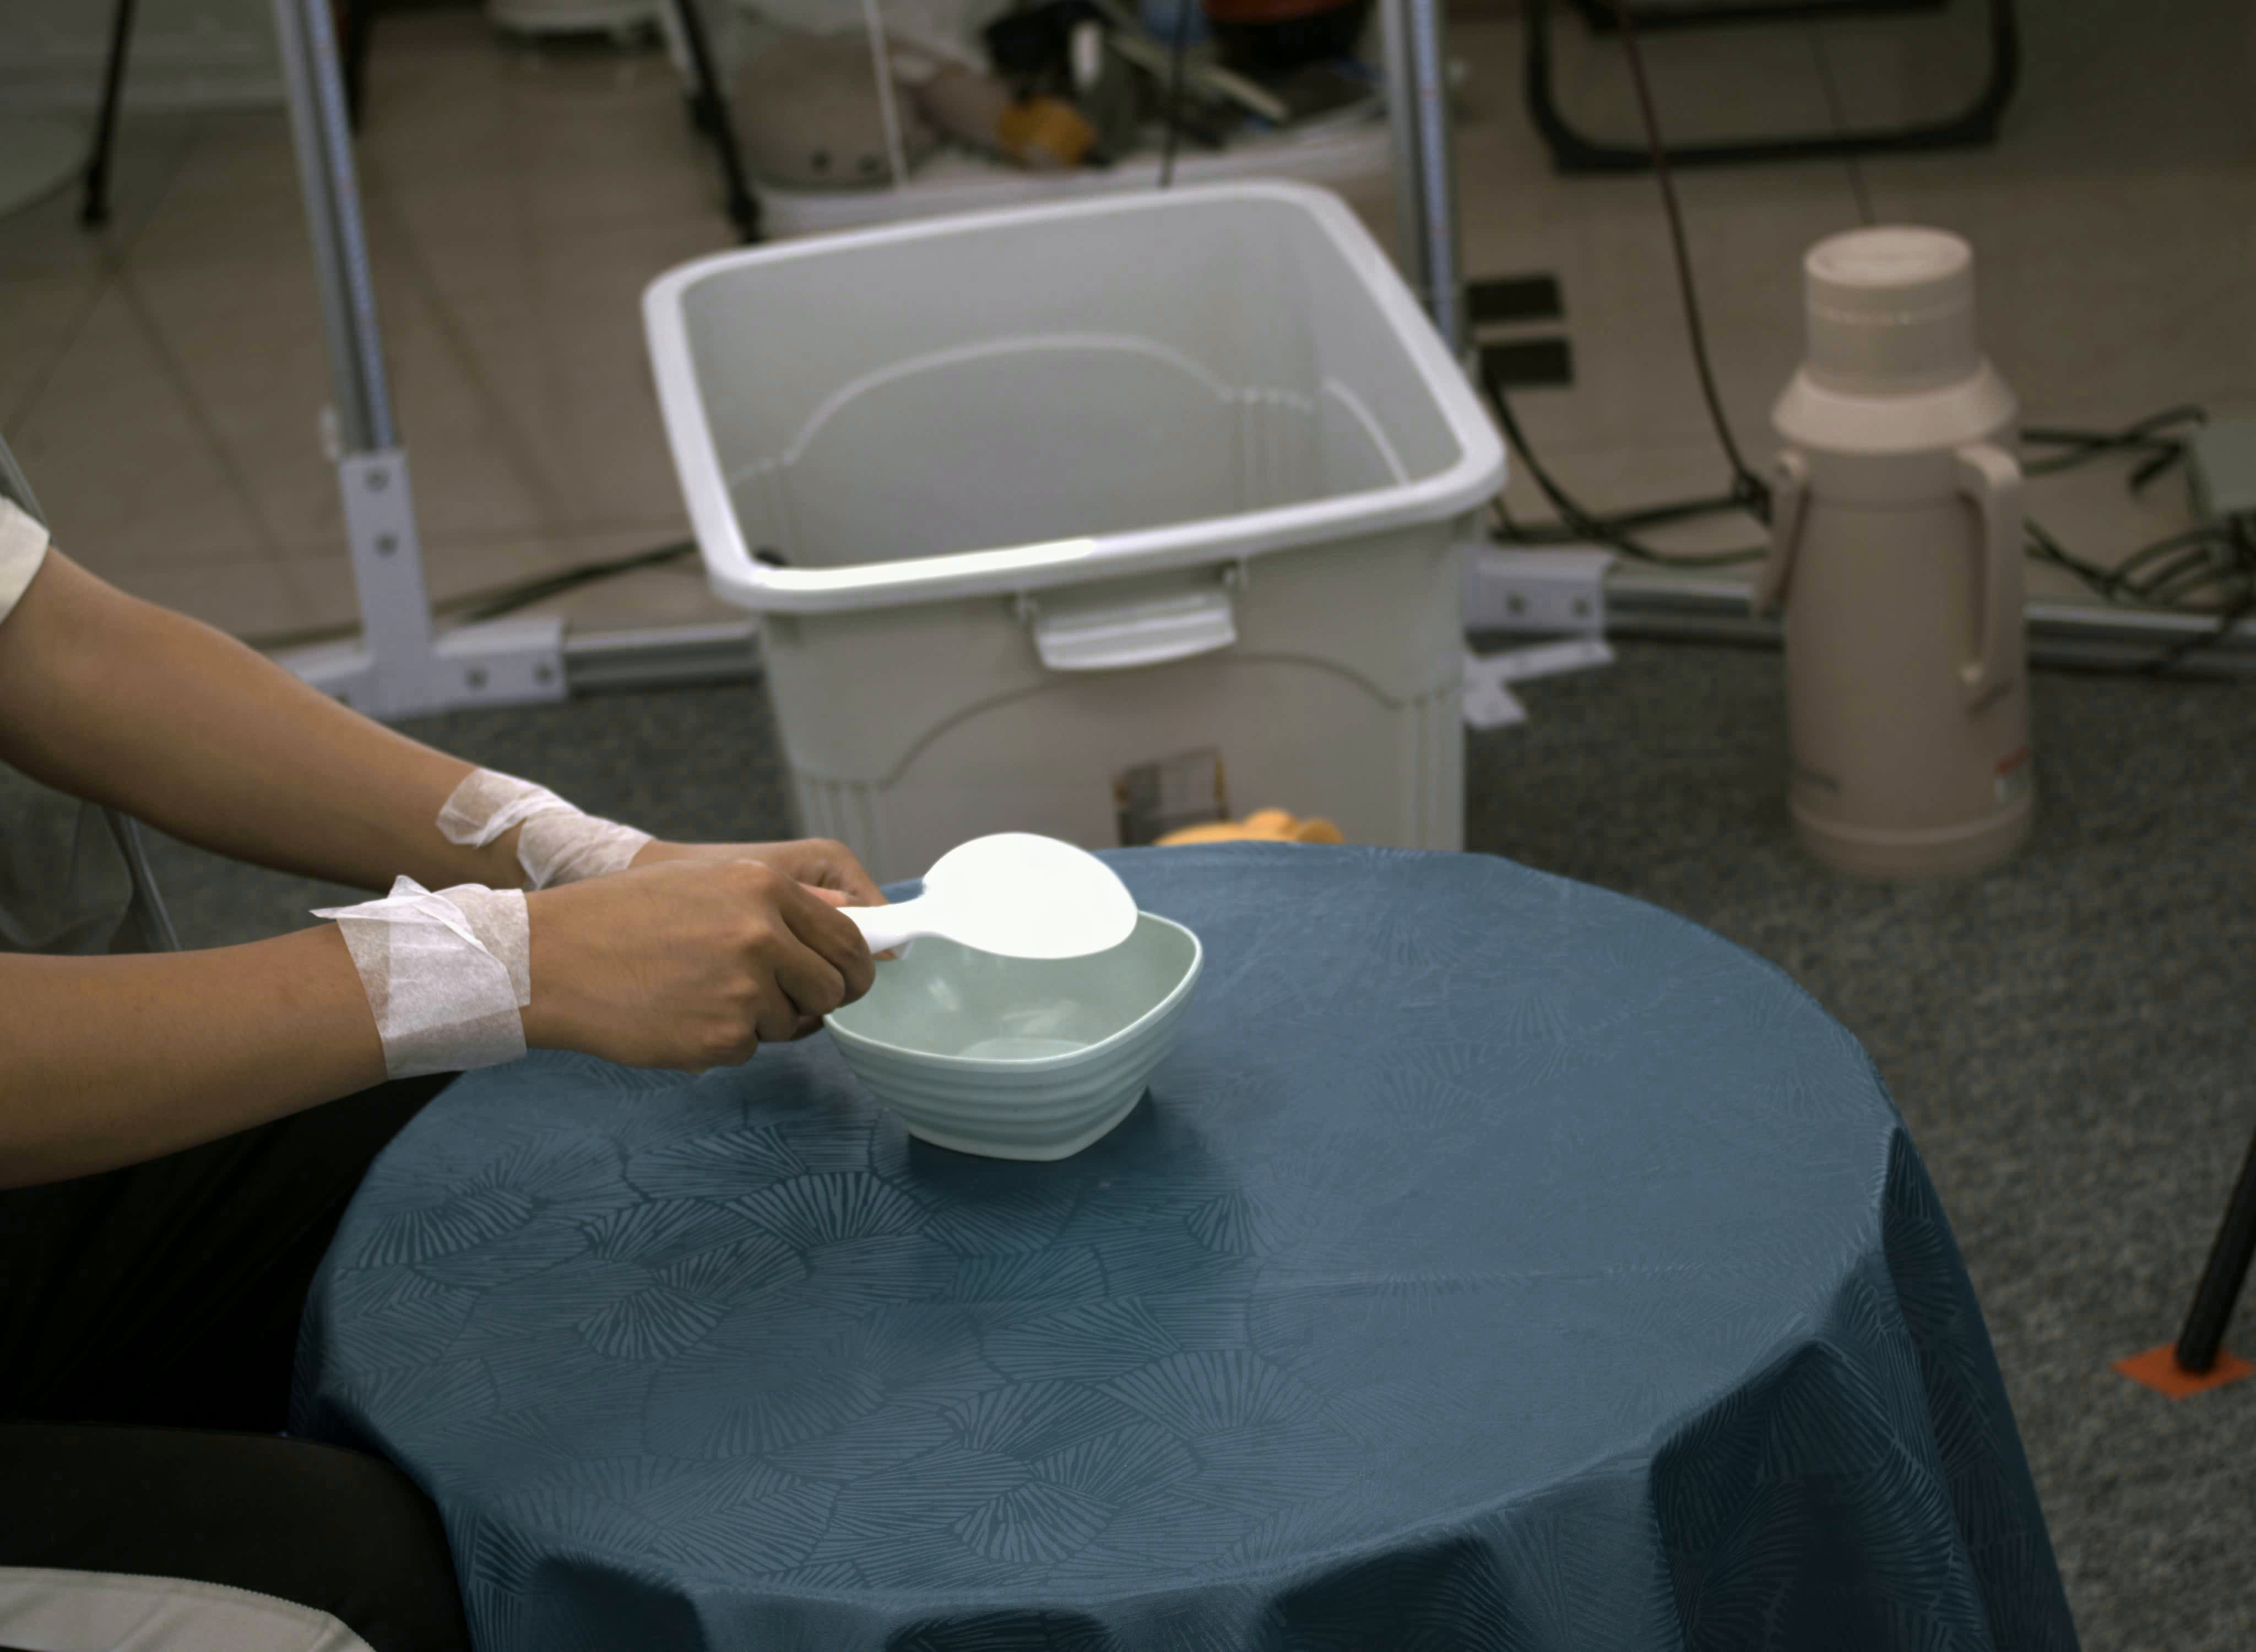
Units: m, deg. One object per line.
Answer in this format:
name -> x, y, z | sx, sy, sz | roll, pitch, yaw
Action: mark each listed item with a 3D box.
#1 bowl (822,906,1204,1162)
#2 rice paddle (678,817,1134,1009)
bowl -> -0.043, 0.083, 2.211 | 0.151, 0.059, 0.149 | -3, 27, 2
rice paddle -> -0.078, 0.032, 2.118 | 0.204, 0.030, 0.068 | -13, 55, -39
